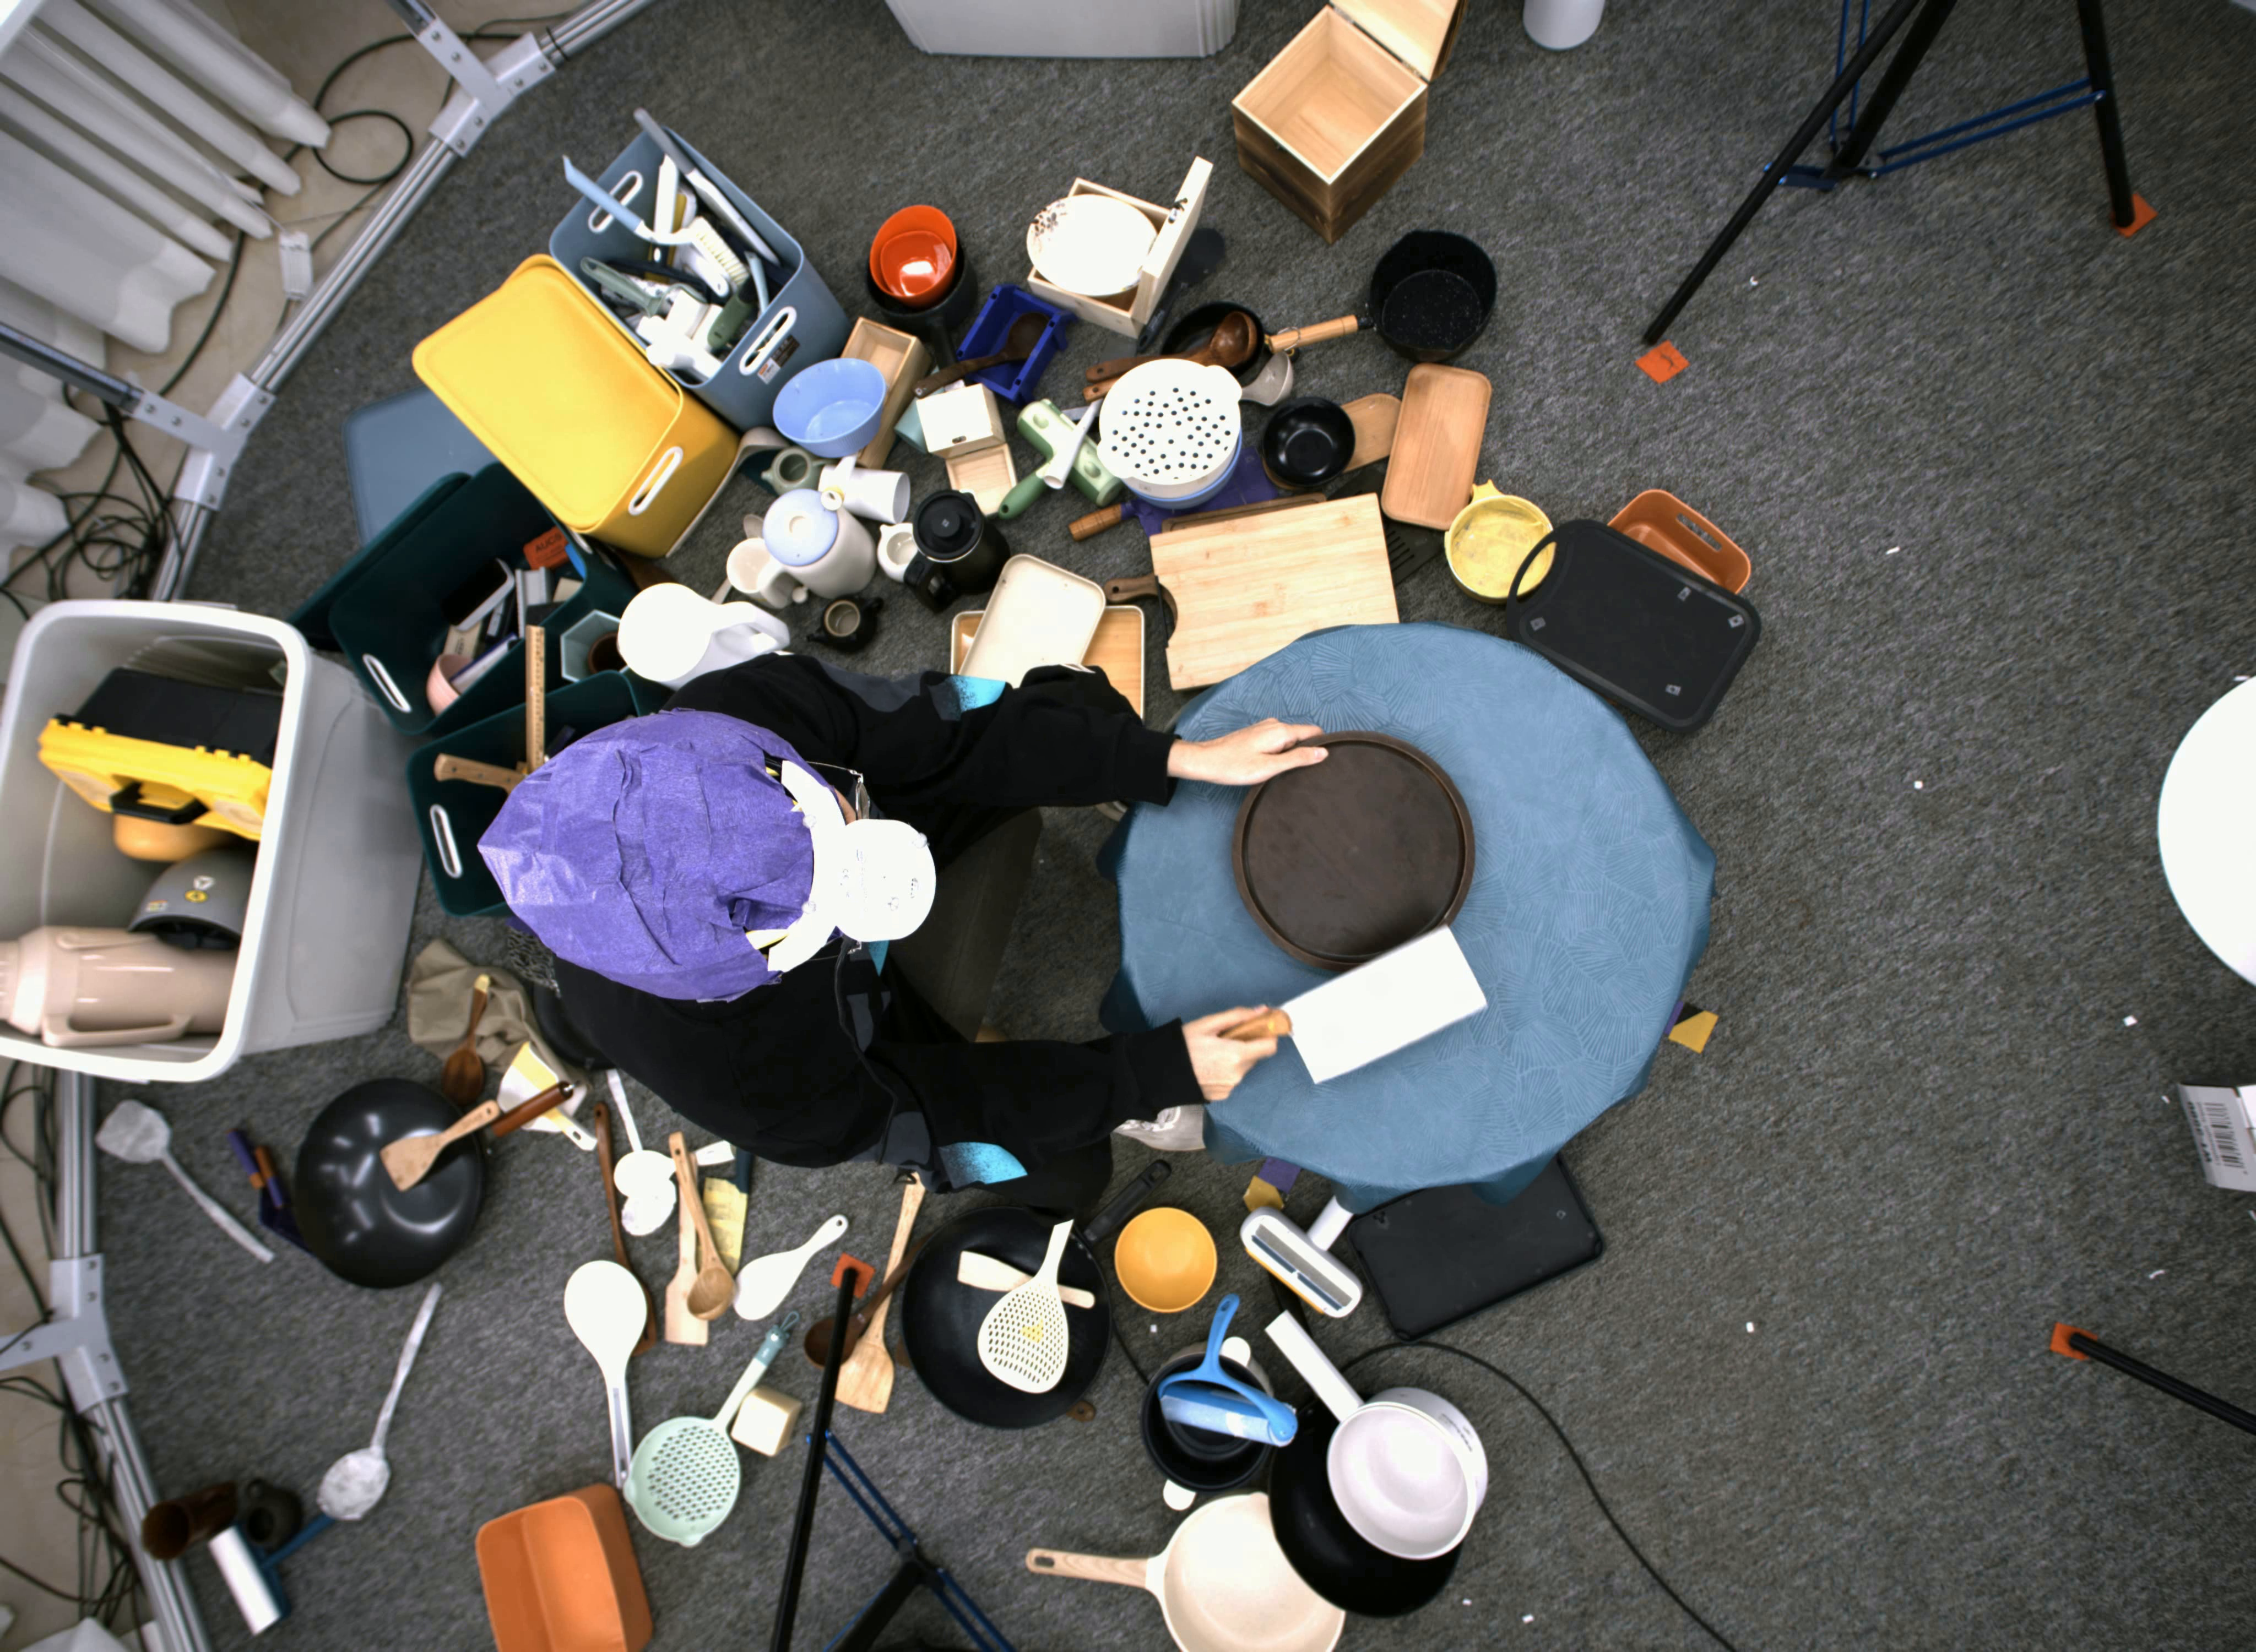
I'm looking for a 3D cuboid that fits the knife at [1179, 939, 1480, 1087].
[{"bbox_3d":[0.204,0.209,1.392,0.308,0.020,0.093,-25,103,13],"label":"knife"}]

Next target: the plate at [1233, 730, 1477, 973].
[{"bbox_3d":[0.235,0.026,1.439,0.255,0.029,0.255,0,94,3],"label":"plate"}]
